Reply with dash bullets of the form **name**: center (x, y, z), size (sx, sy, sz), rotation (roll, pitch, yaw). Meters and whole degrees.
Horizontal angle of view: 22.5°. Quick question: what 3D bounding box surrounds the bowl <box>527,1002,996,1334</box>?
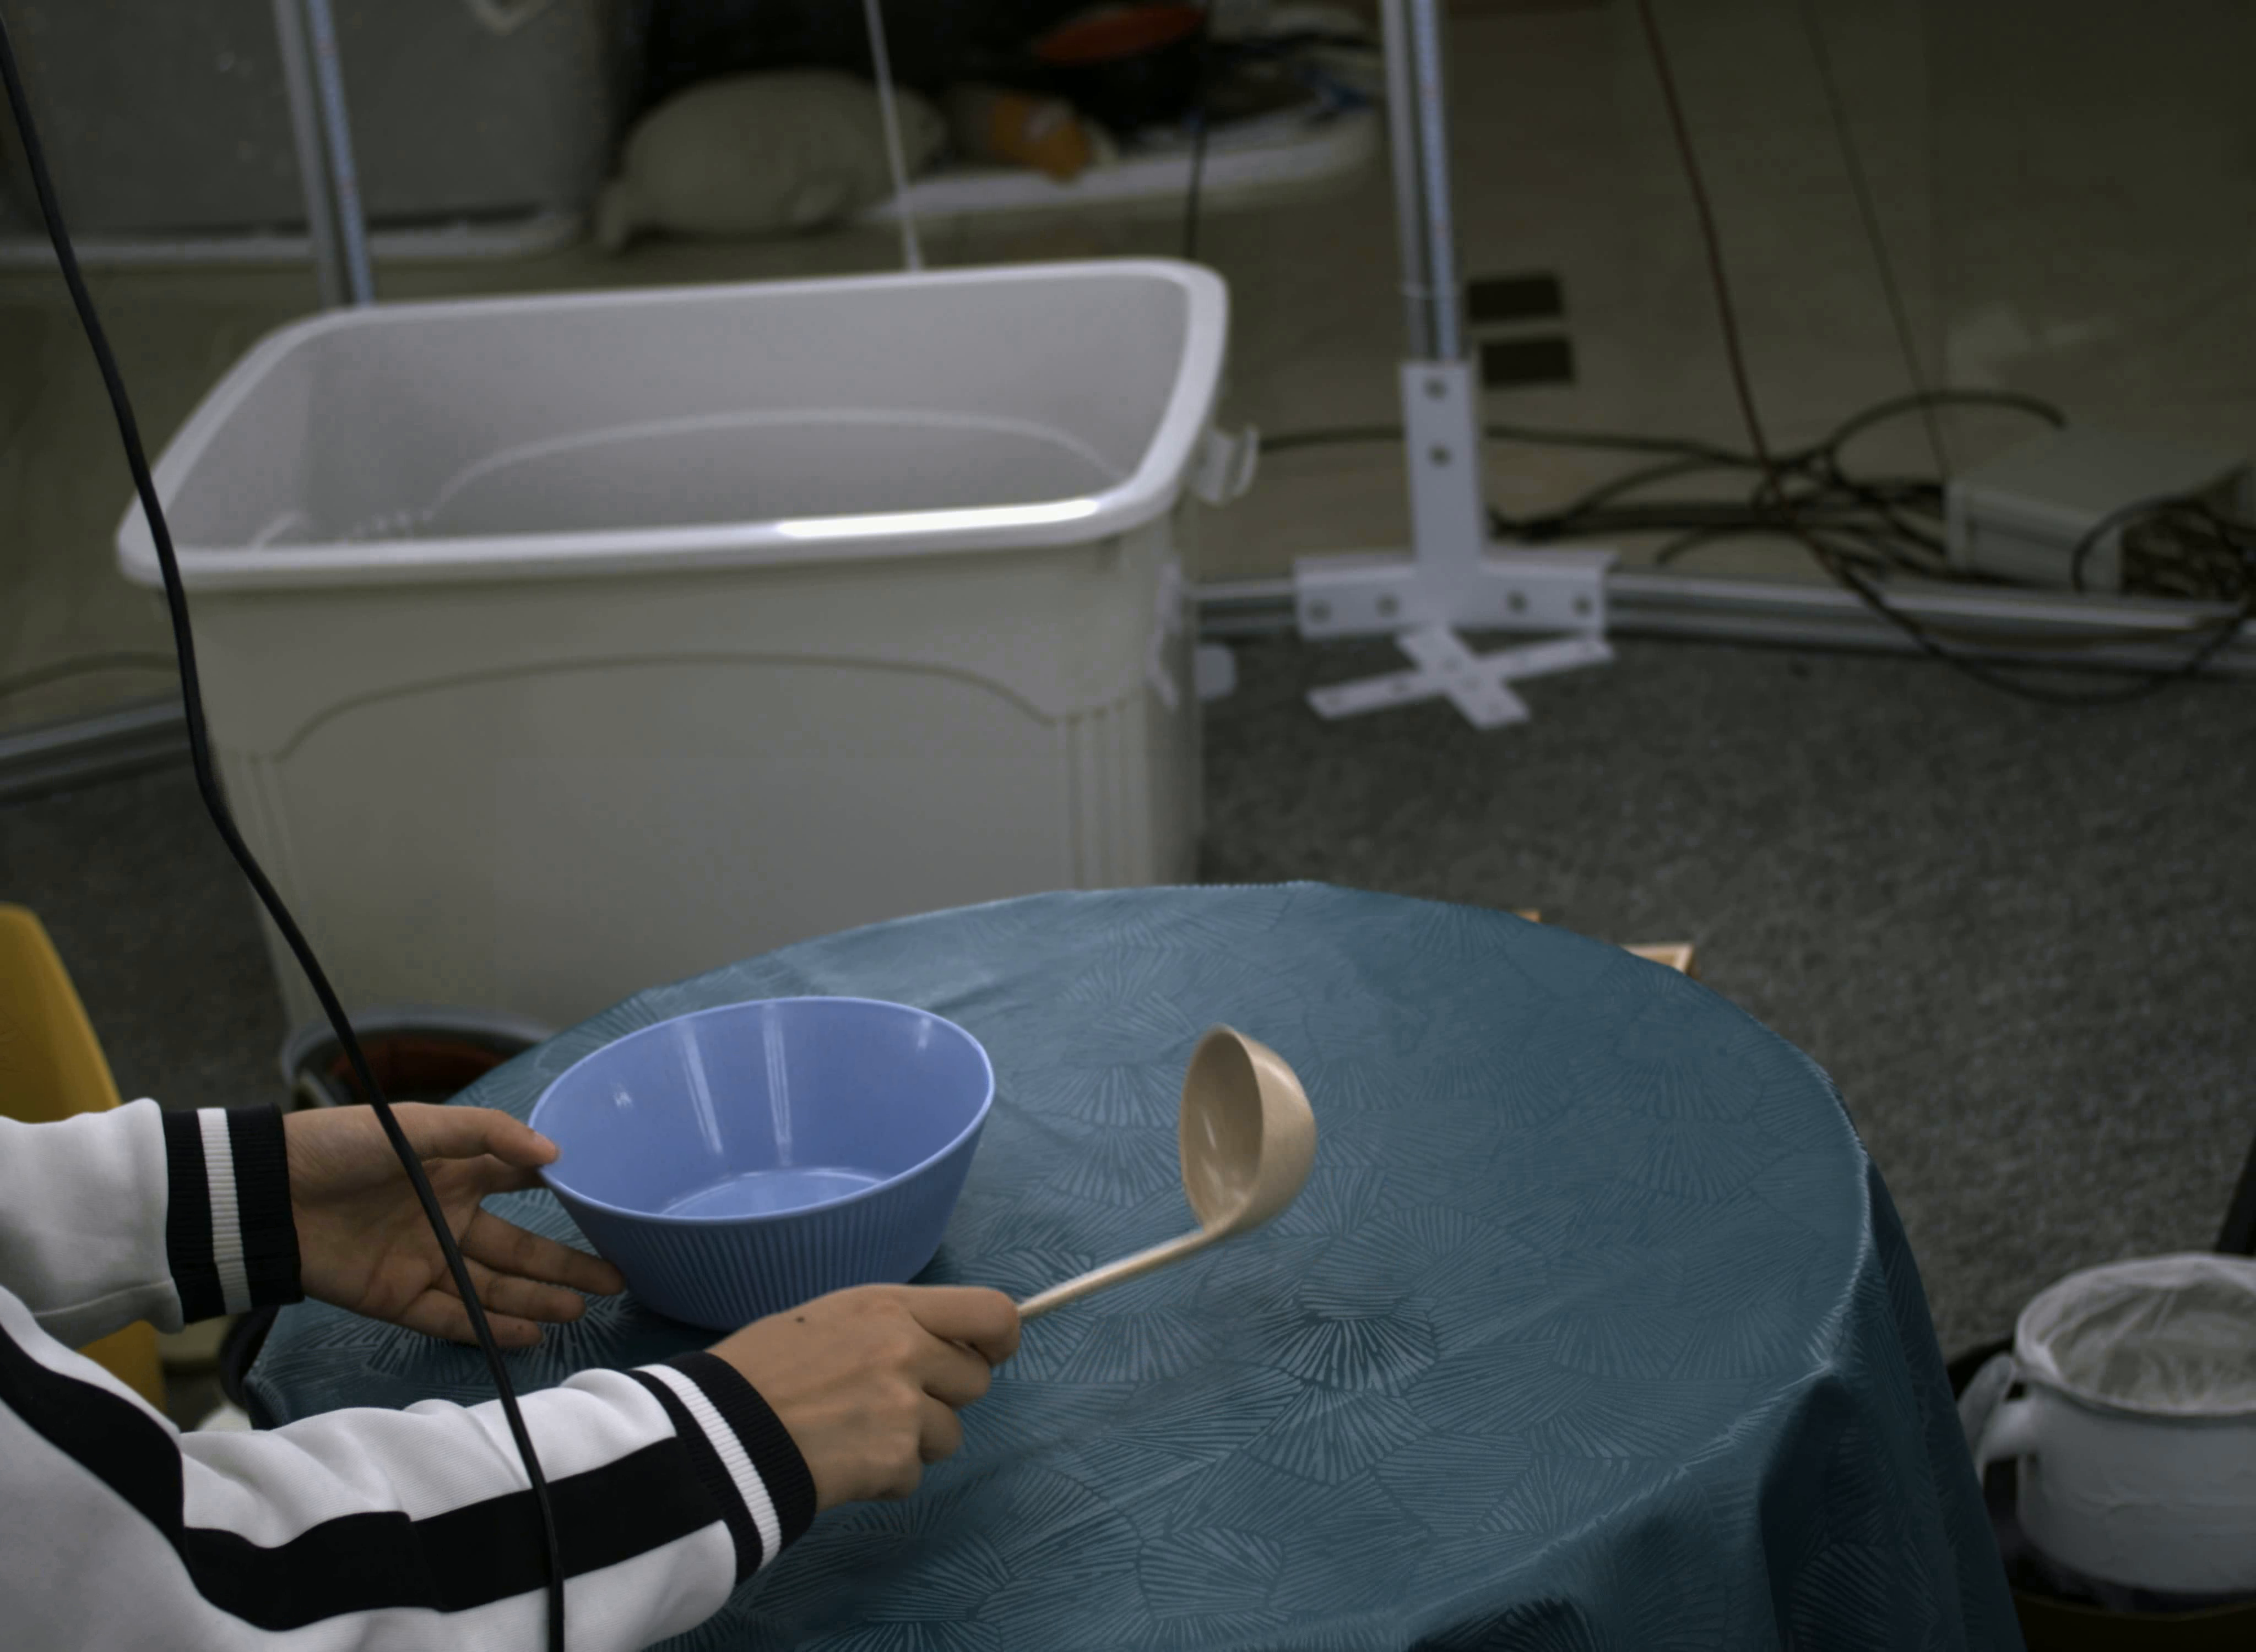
- **bowl**: center (-0.132, 0.133, 2.110), size (0.176, 0.071, 0.173), rotation (-6, 24, 3)

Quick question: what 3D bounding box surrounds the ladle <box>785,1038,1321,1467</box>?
- **ladle**: center (-0.038, 0.145, 1.979), size (0.252, 0.073, 0.072), rotation (-22, 74, -36)
